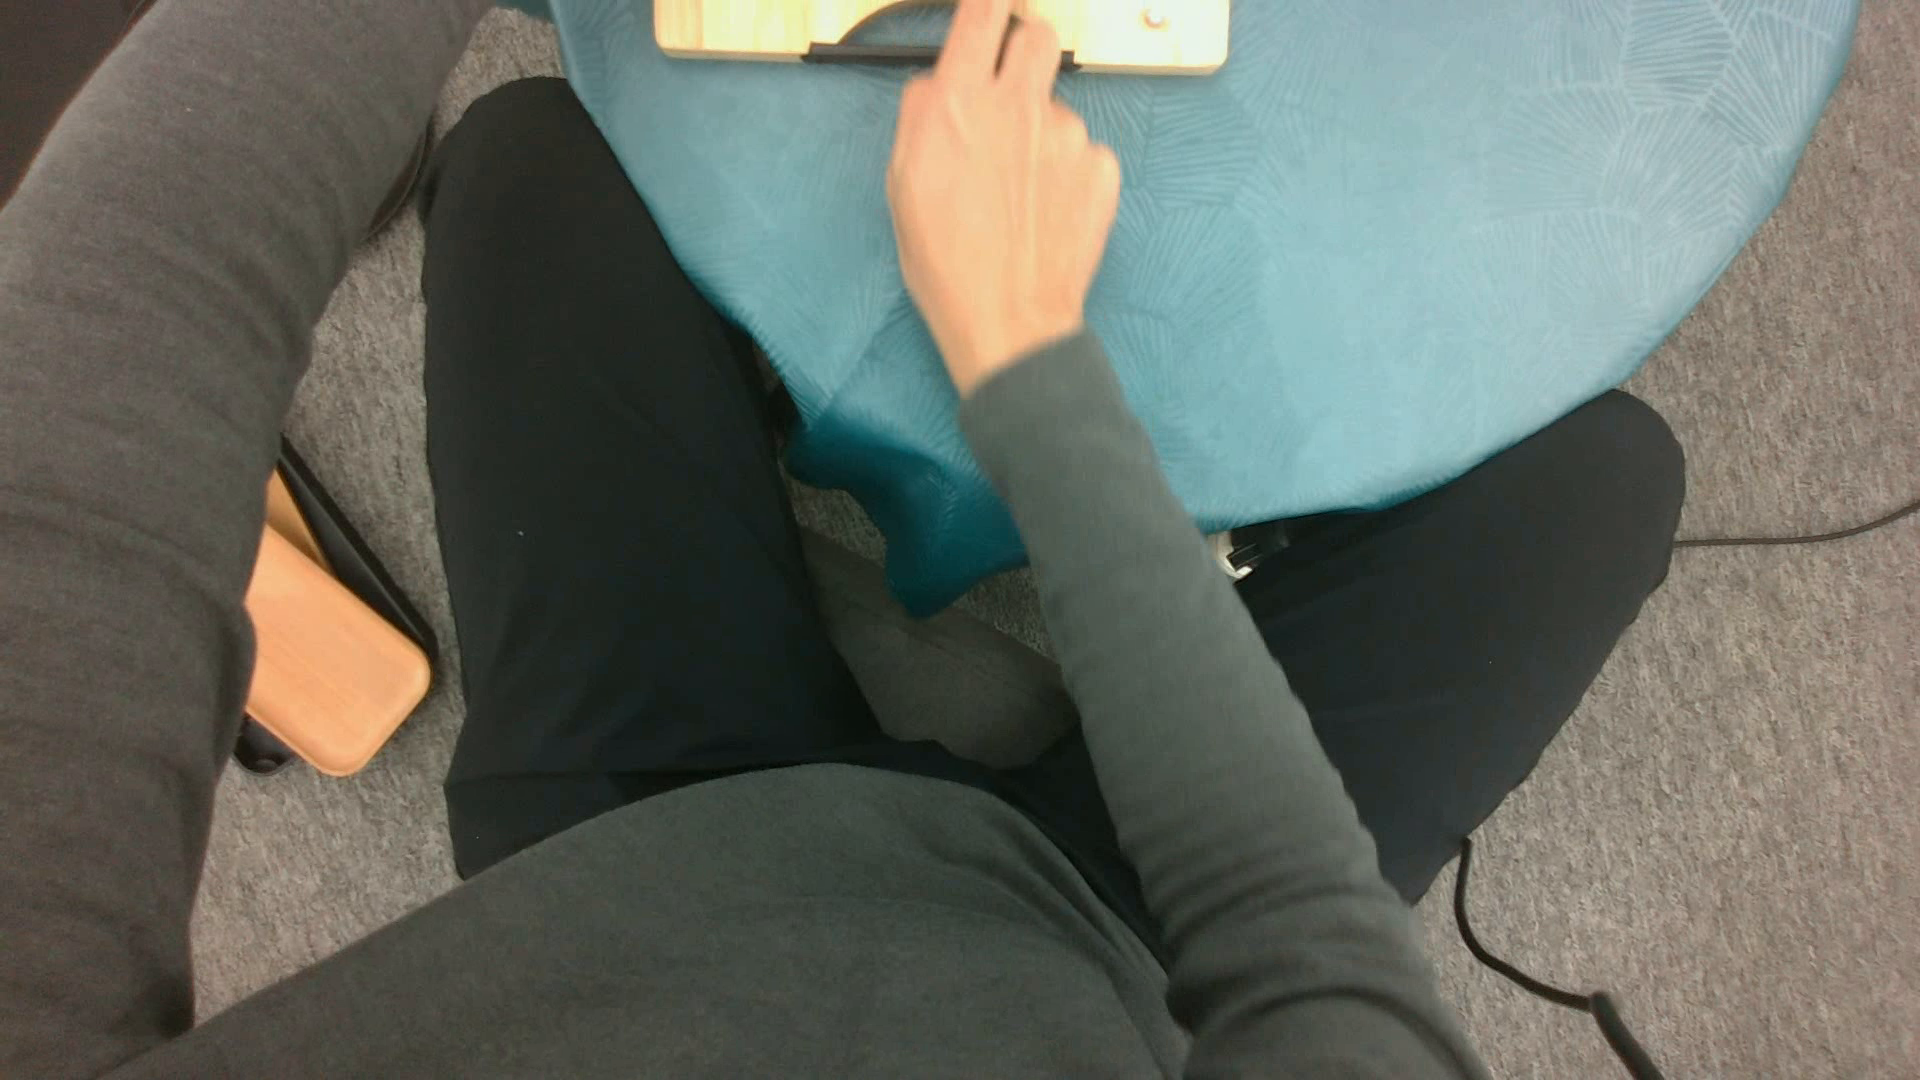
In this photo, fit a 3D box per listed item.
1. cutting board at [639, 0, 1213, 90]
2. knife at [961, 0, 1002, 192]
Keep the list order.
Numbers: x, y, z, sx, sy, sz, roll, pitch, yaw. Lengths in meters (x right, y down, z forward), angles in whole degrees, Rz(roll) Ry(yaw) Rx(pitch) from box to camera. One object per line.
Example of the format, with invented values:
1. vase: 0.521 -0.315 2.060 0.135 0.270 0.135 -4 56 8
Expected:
1. cutting board: -0.011 -0.368 0.571 0.251 0.023 0.348 -1 96 -4
2. knife: 0.008 -0.261 0.556 0.016 0.024 0.238 -1 89 0
